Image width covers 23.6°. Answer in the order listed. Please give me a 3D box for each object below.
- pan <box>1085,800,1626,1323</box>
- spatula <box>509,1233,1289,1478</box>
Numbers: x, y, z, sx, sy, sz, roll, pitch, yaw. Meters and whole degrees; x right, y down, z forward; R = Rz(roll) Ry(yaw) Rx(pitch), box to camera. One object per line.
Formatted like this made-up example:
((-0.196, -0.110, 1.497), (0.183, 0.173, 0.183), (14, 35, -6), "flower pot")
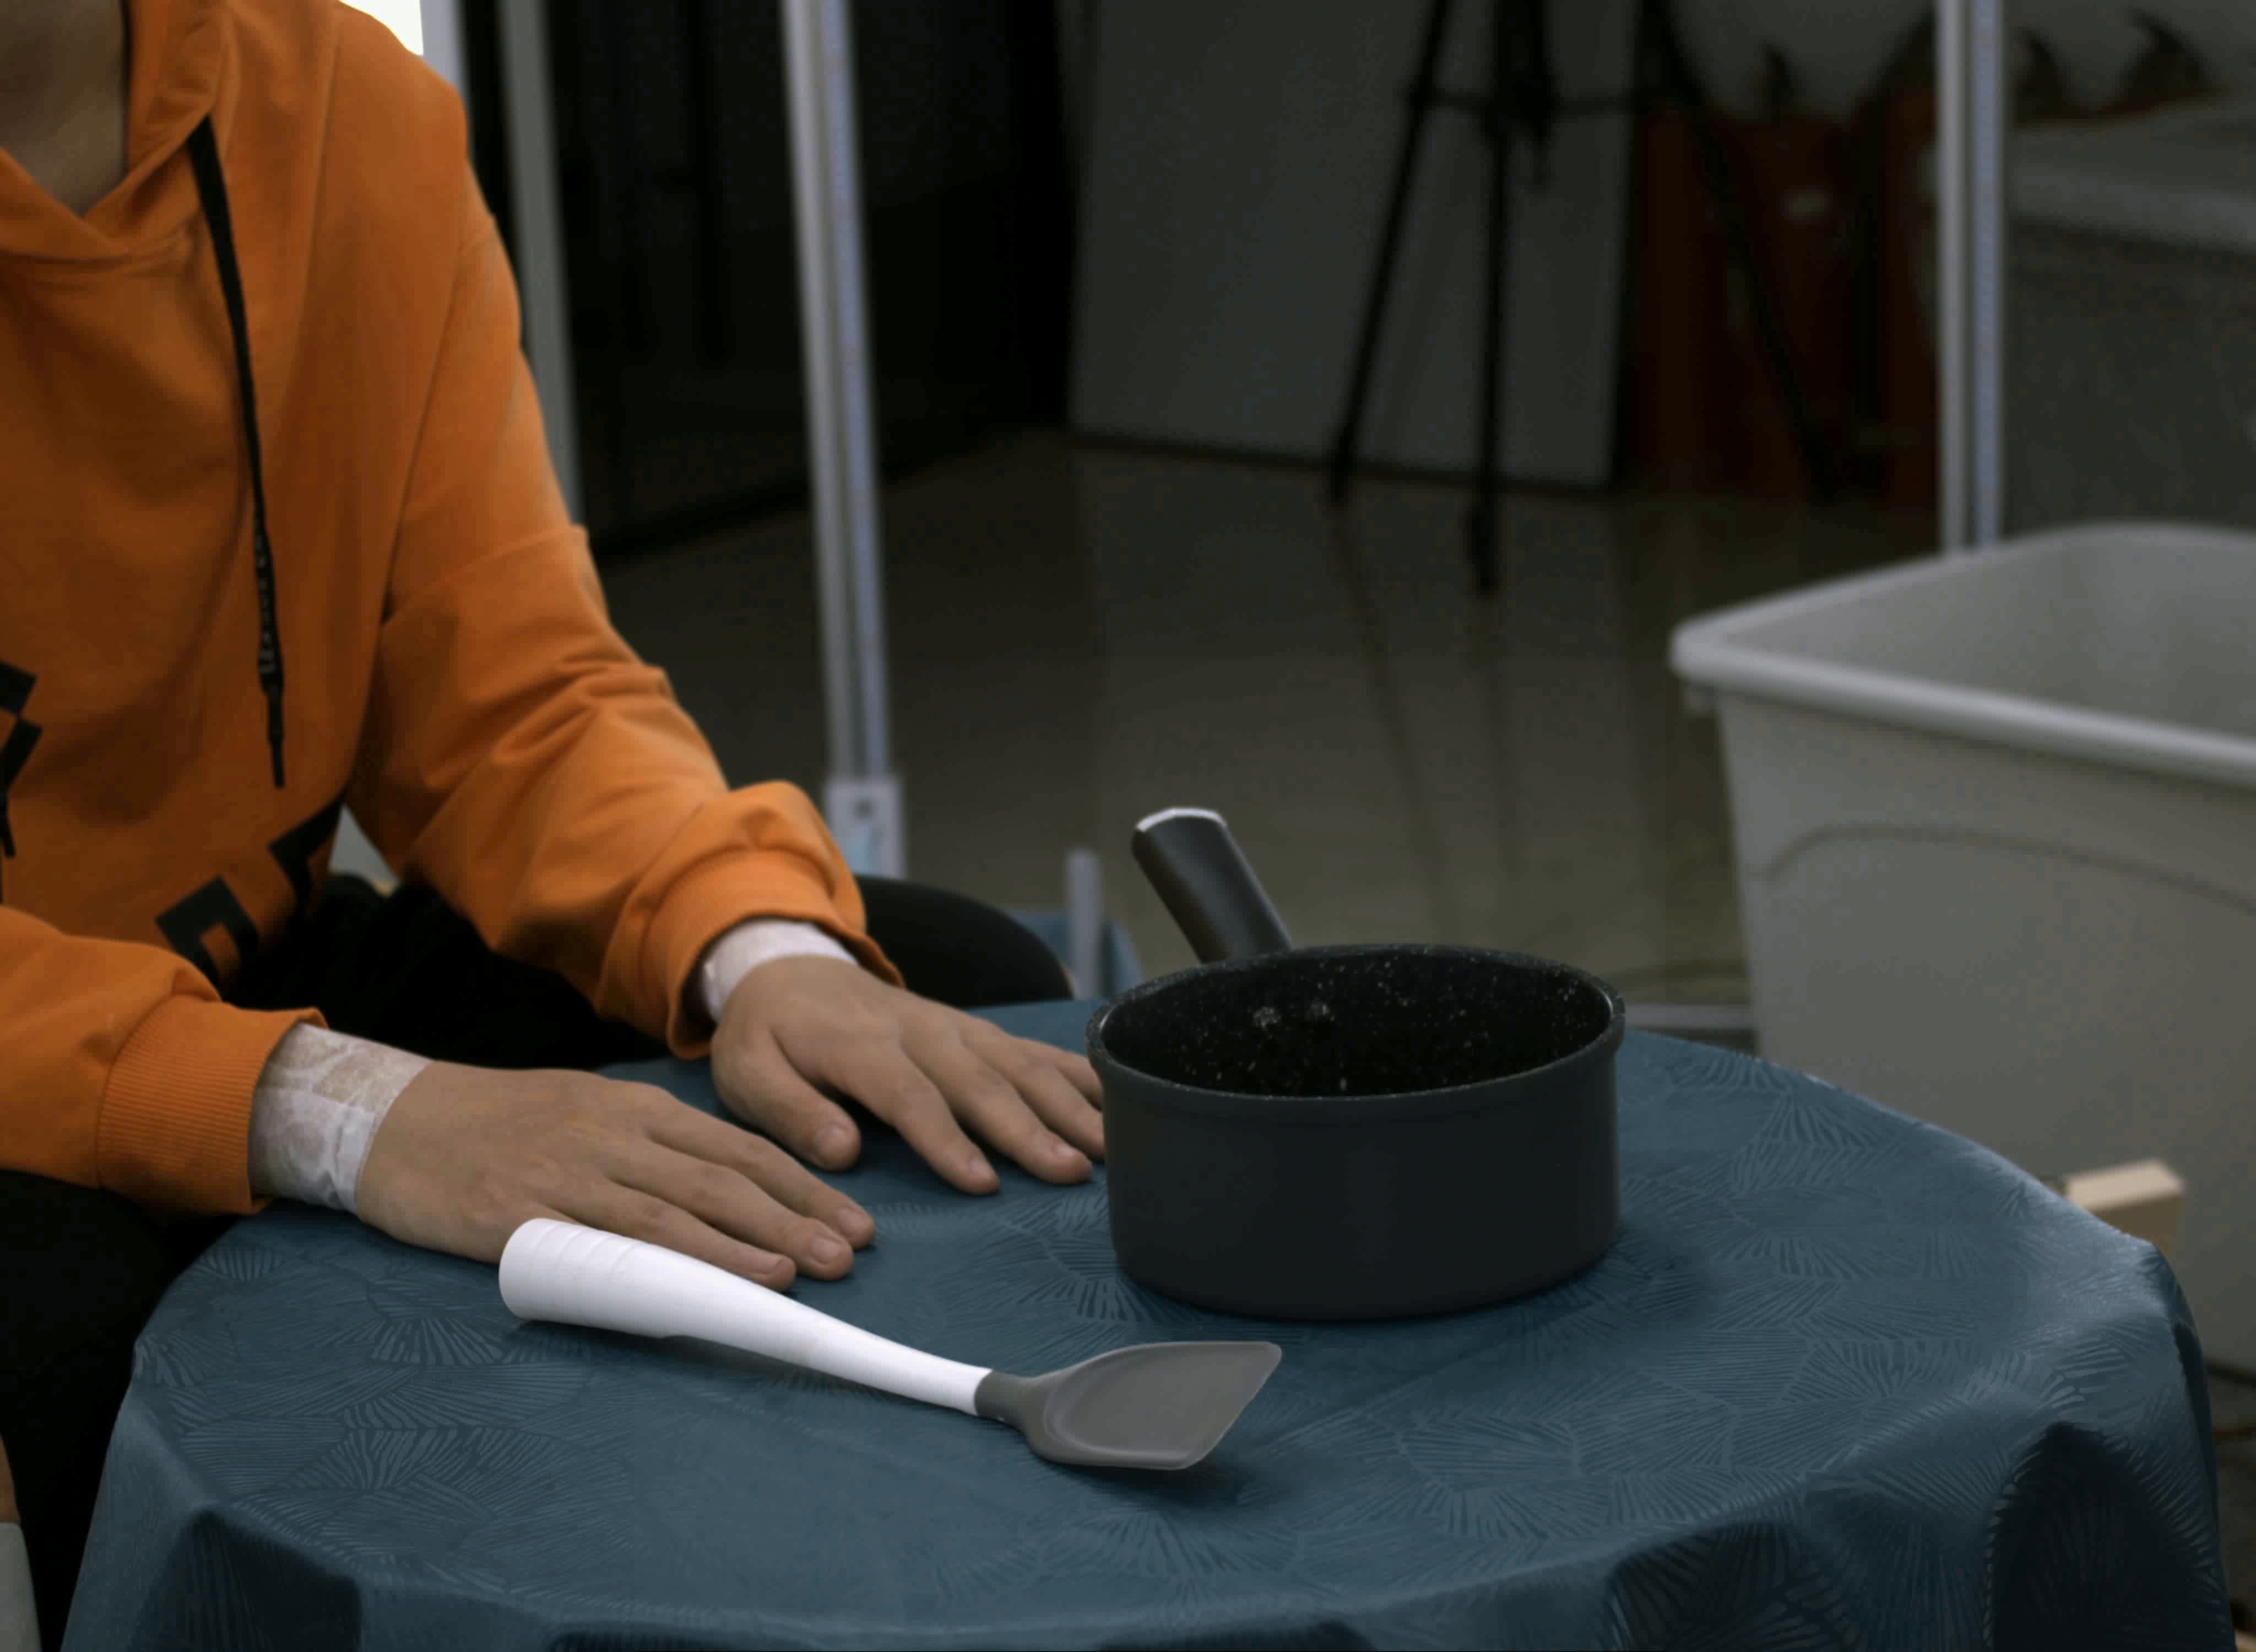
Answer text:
((0.058, 0.073, 1.769), (0.169, 0.087, 0.331), (-5, 15, -9), "pan")
((-0.071, 0.155, 1.590), (0.290, 0.032, 0.058), (7, 40, 40), "spatula")
